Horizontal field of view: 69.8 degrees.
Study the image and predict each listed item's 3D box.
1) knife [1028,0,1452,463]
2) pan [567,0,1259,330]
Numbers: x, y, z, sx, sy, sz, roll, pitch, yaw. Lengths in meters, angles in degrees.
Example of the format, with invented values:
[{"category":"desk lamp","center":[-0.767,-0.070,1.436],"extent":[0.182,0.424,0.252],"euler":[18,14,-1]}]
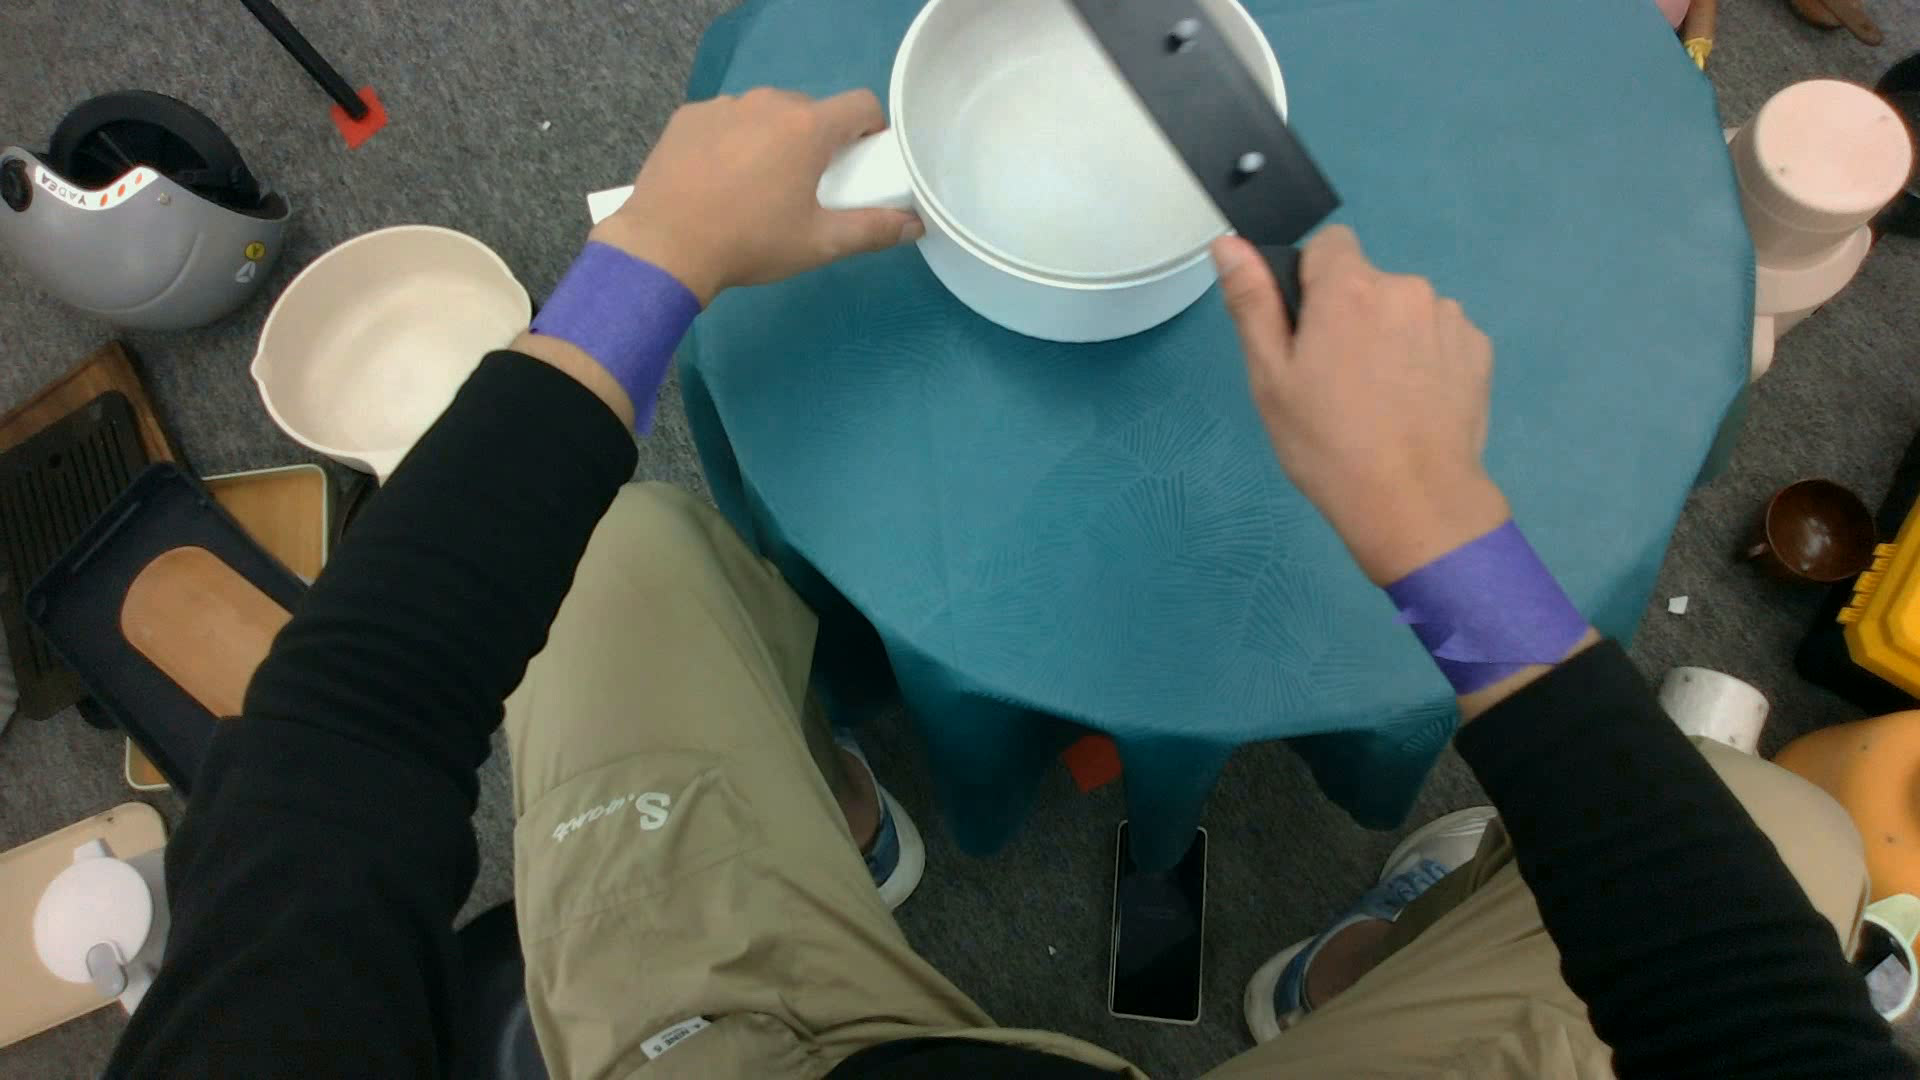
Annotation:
[{"category":"knife","center":[0.114,-0.157,0.589],"extent":[0.081,0.021,0.302],"euler":[-36,90,-32]},{"category":"pan","center":[-0.021,-0.194,0.737],"extent":[0.355,0.102,0.201],"euler":[-15,76,-5]}]
